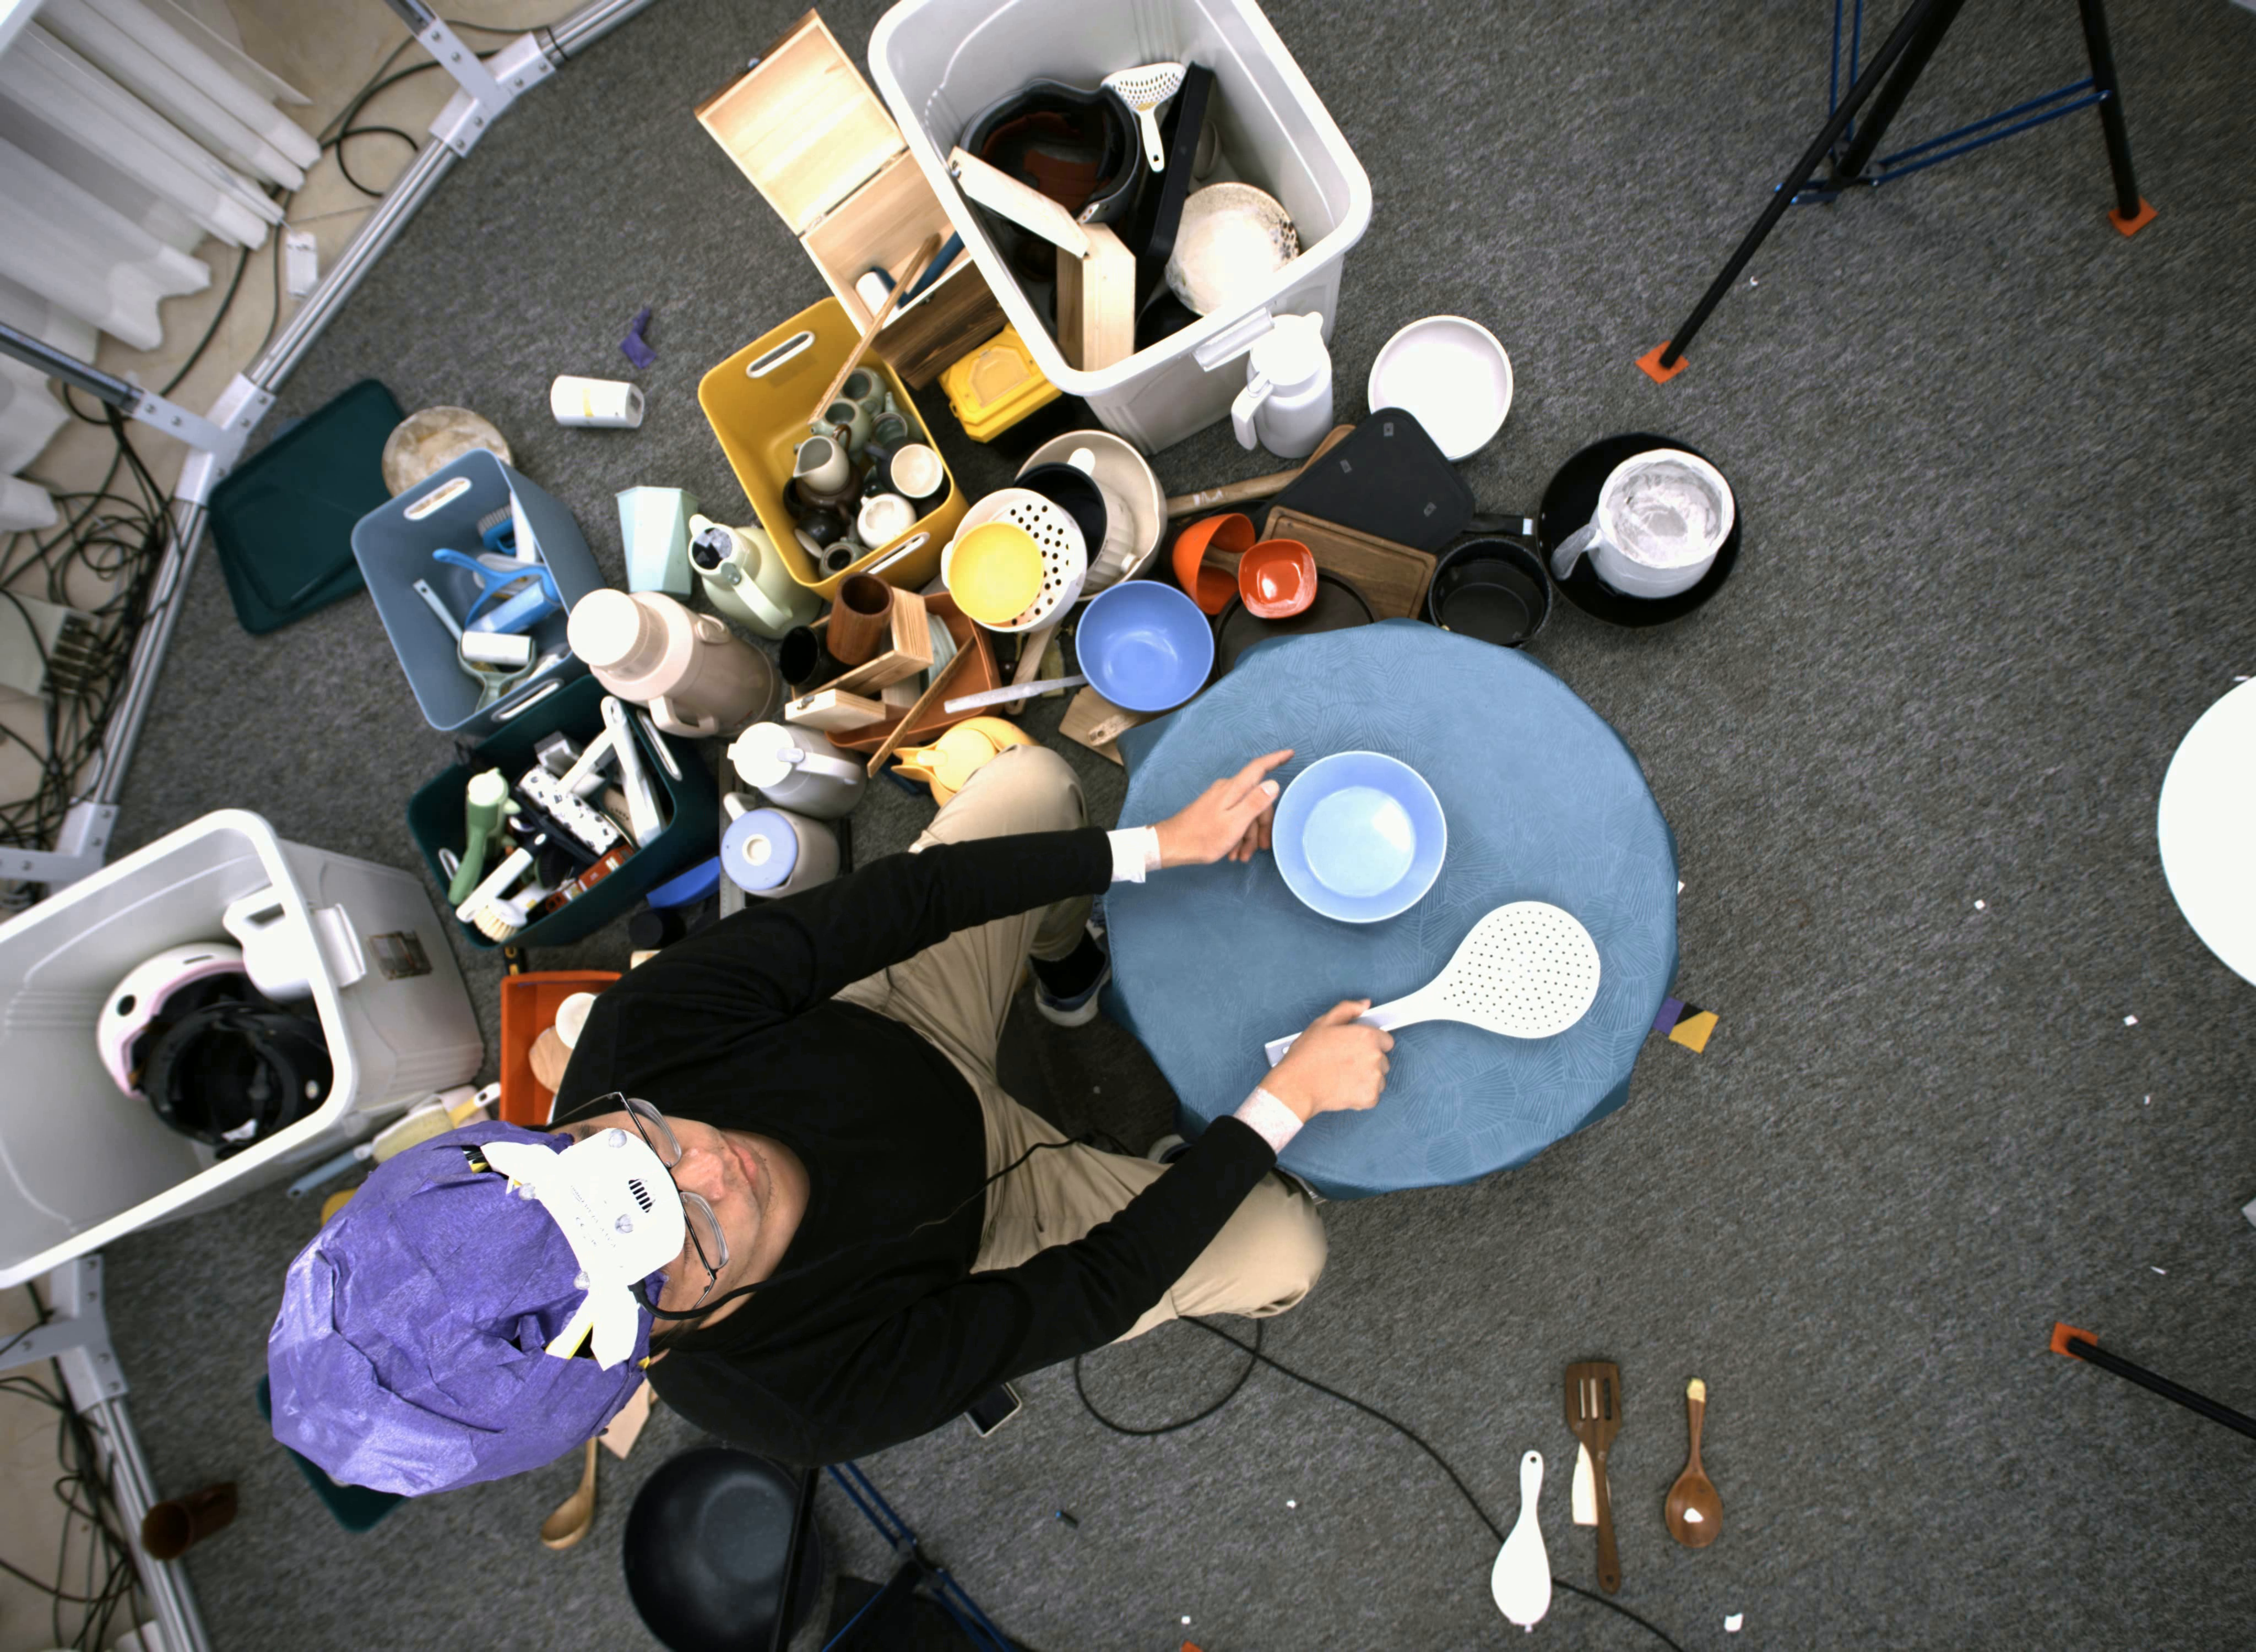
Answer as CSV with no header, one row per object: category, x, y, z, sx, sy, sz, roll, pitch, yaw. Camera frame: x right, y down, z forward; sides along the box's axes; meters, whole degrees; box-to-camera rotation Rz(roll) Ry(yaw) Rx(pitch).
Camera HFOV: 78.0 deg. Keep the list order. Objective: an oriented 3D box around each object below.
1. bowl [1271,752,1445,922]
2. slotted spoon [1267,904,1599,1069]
bowl,0.238,0.013,1.433,0.177,0.070,0.175,-1,86,11
slotted spoon,0.309,0.184,1.424,0.352,0.046,0.135,-21,81,10
